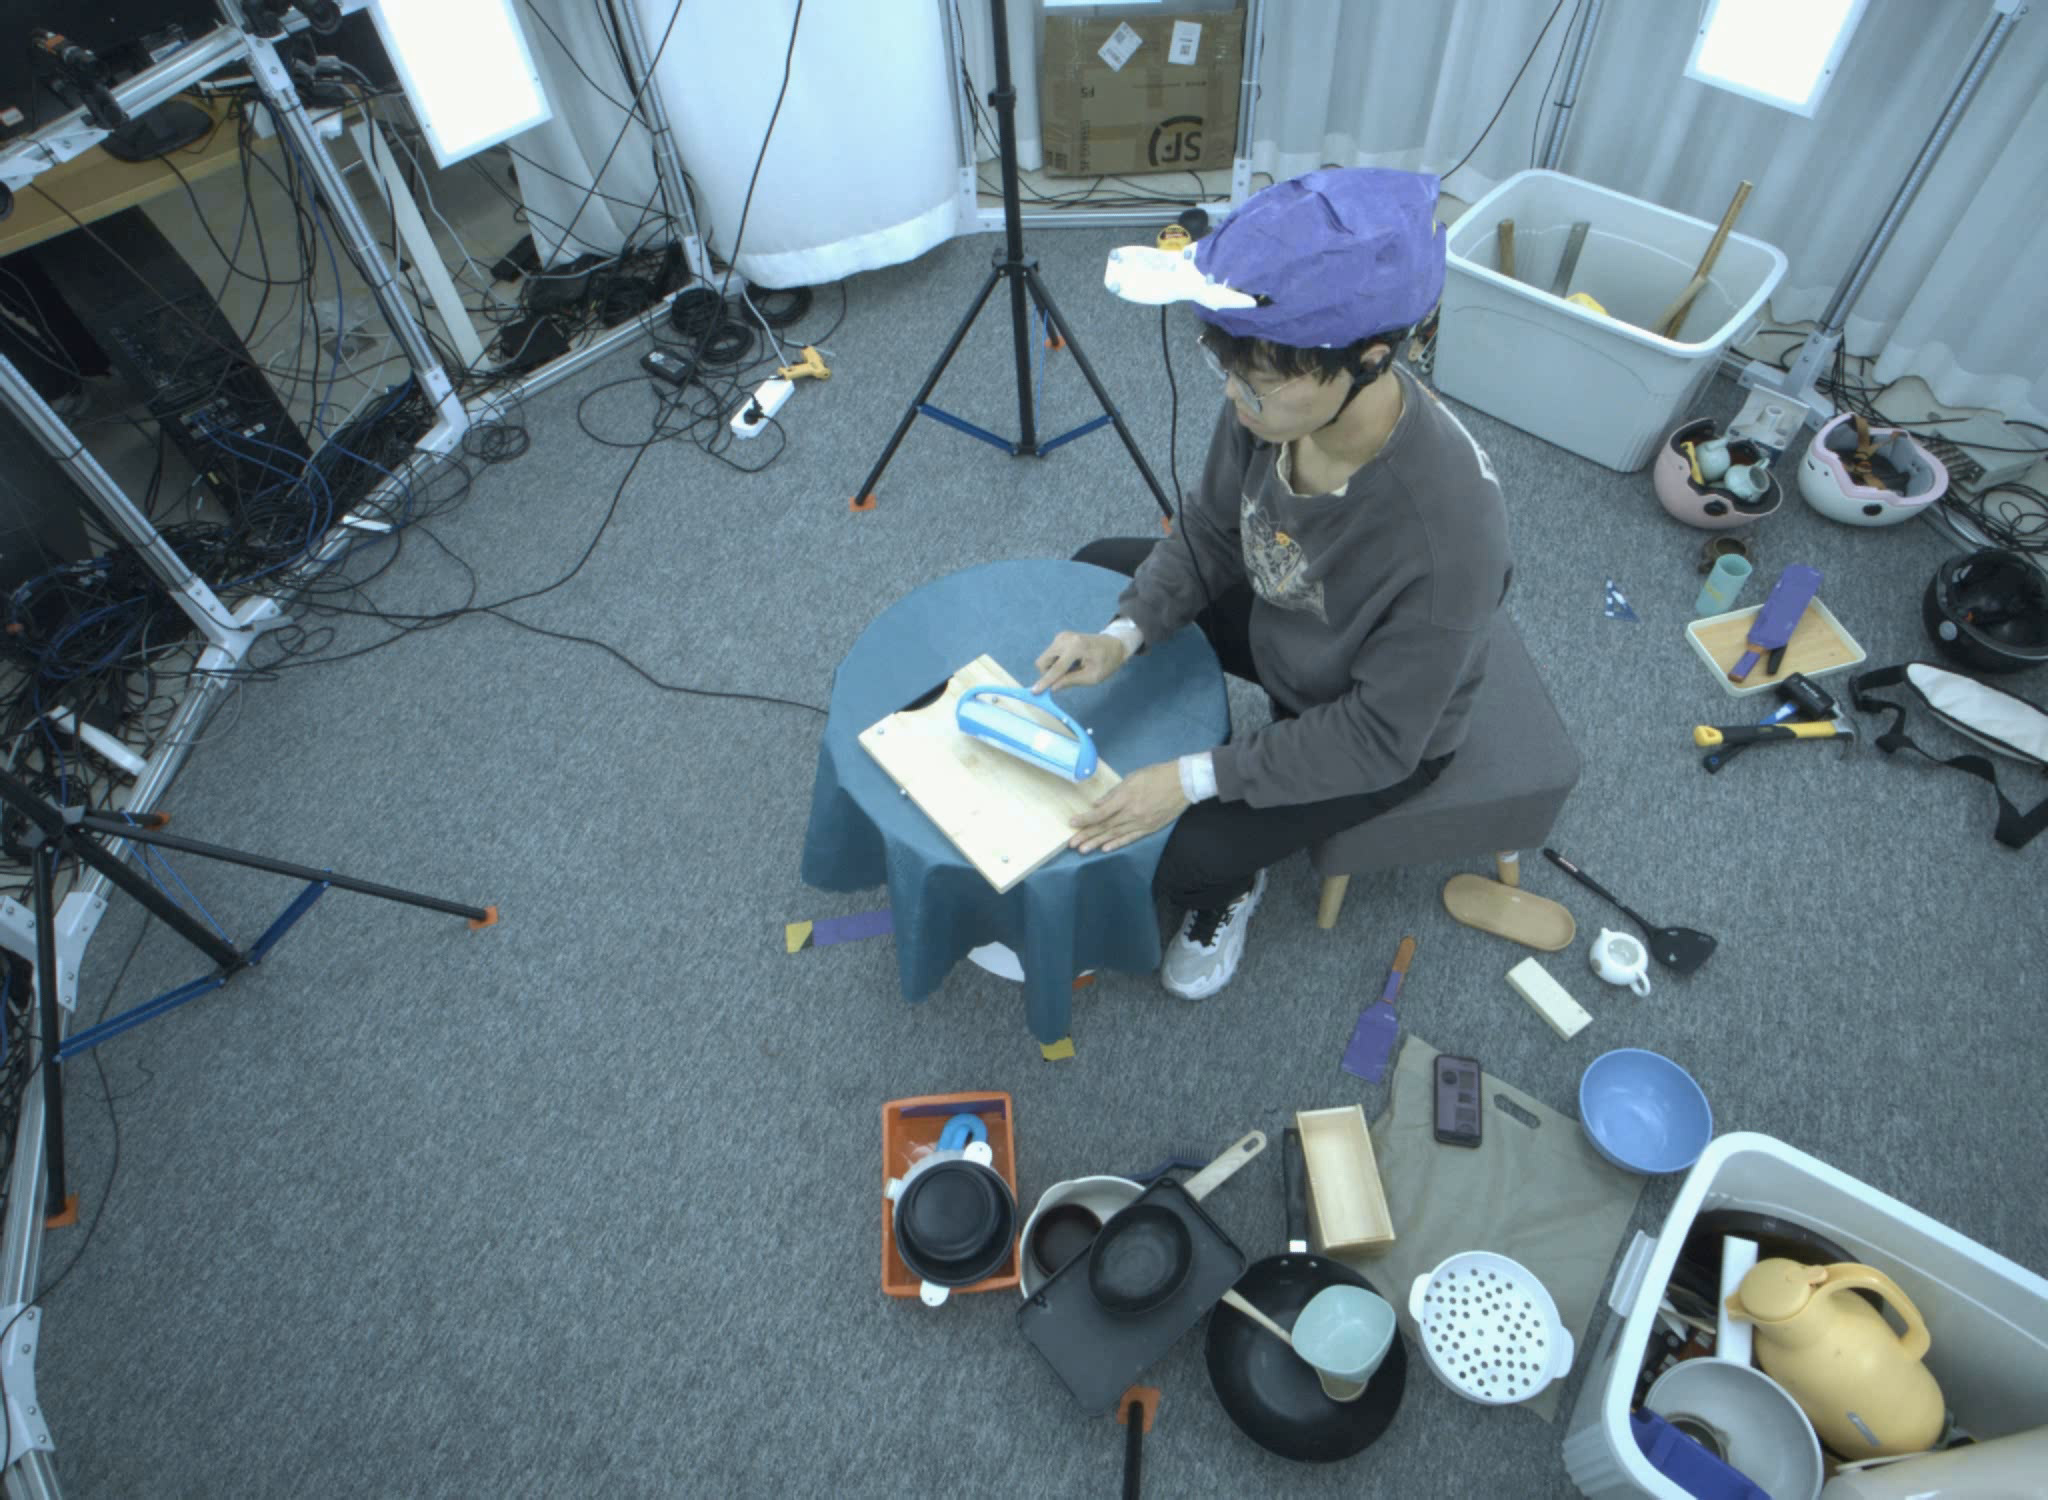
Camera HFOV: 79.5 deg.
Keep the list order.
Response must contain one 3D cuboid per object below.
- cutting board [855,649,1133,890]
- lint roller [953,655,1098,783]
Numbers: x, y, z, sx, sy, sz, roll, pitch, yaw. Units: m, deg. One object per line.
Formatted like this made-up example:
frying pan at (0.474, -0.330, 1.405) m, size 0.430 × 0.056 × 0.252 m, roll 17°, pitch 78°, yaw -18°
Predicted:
cutting board at (-0.048, 0.019, 1.763) m, size 0.253 × 0.024 × 0.342 m, roll -35°, pitch 61°, yaw -22°
lint roller at (0.023, -0.066, 1.726) m, size 0.225 × 0.069 × 0.180 m, roll 20°, pitch 78°, yaw 22°
